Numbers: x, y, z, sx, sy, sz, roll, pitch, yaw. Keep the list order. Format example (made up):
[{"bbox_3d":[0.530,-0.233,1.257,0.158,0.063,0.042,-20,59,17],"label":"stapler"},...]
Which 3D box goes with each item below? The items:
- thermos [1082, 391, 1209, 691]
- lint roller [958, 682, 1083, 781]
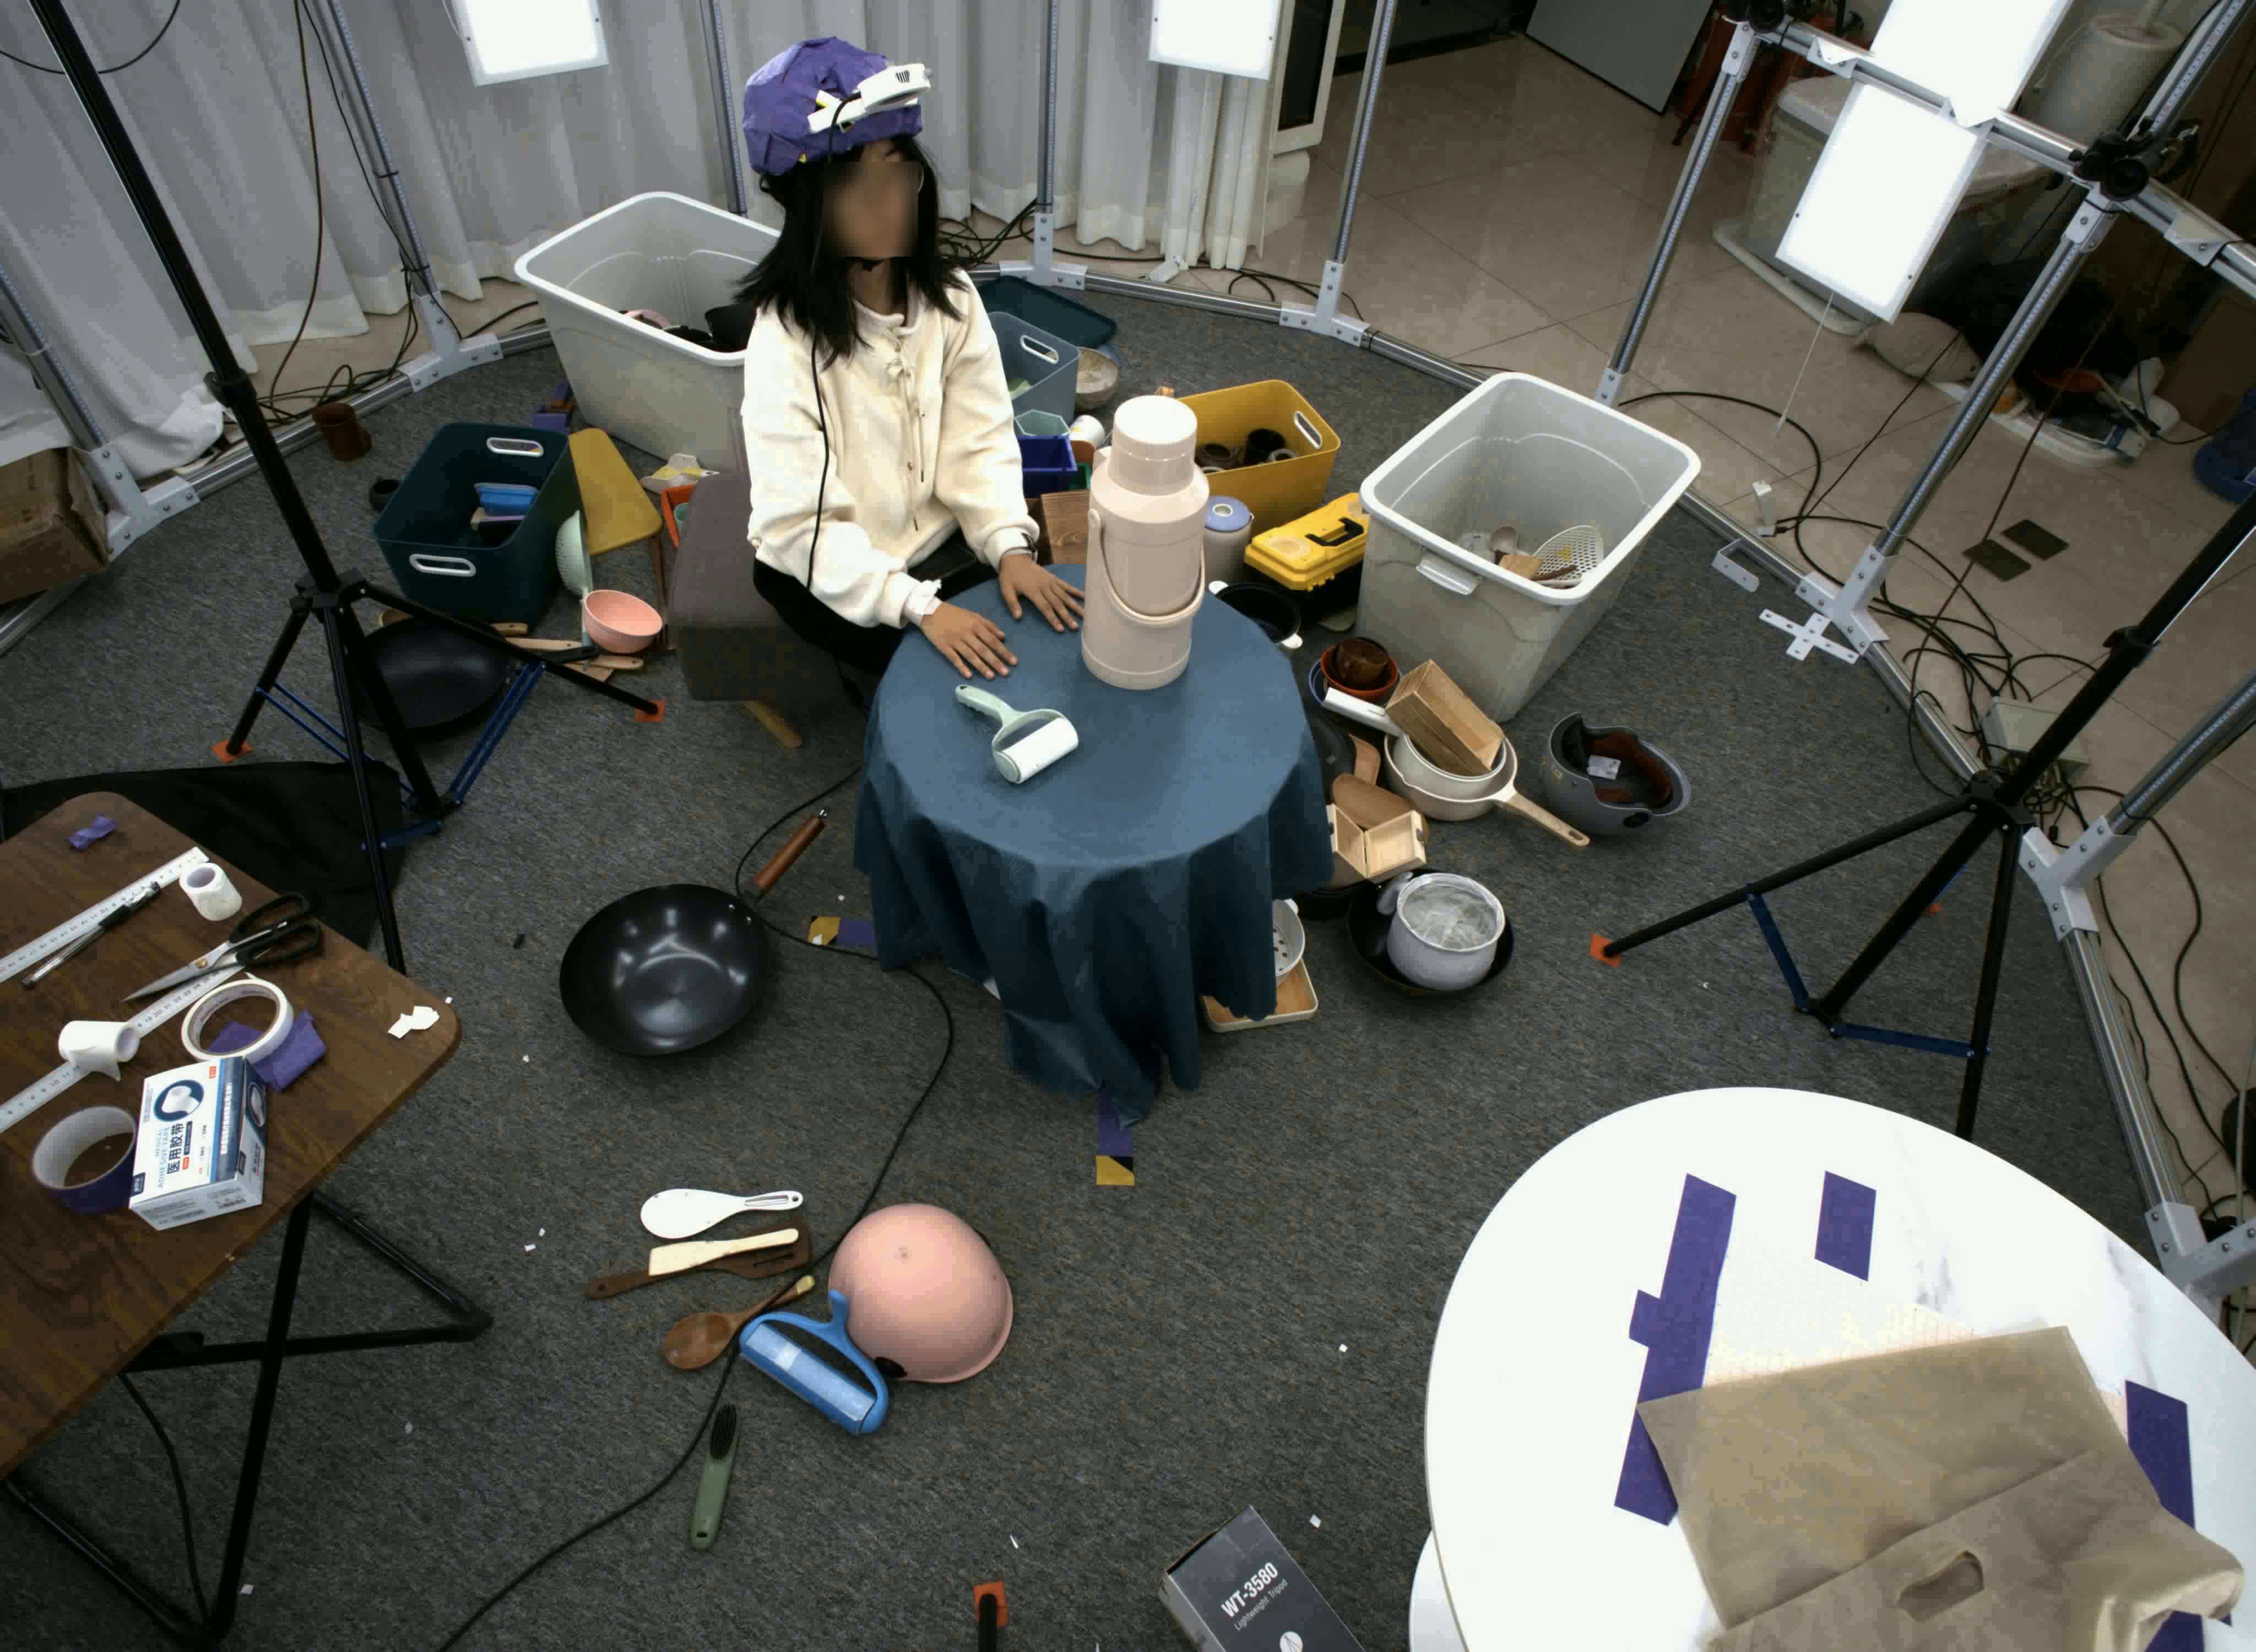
[{"bbox_3d":[0.016,-0.390,1.754,0.176,0.396,0.211,-25,55,-23],"label":"thermos"},{"bbox_3d":[-0.163,-0.150,1.758,0.117,0.047,0.201,-34,60,-26],"label":"lint roller"}]
